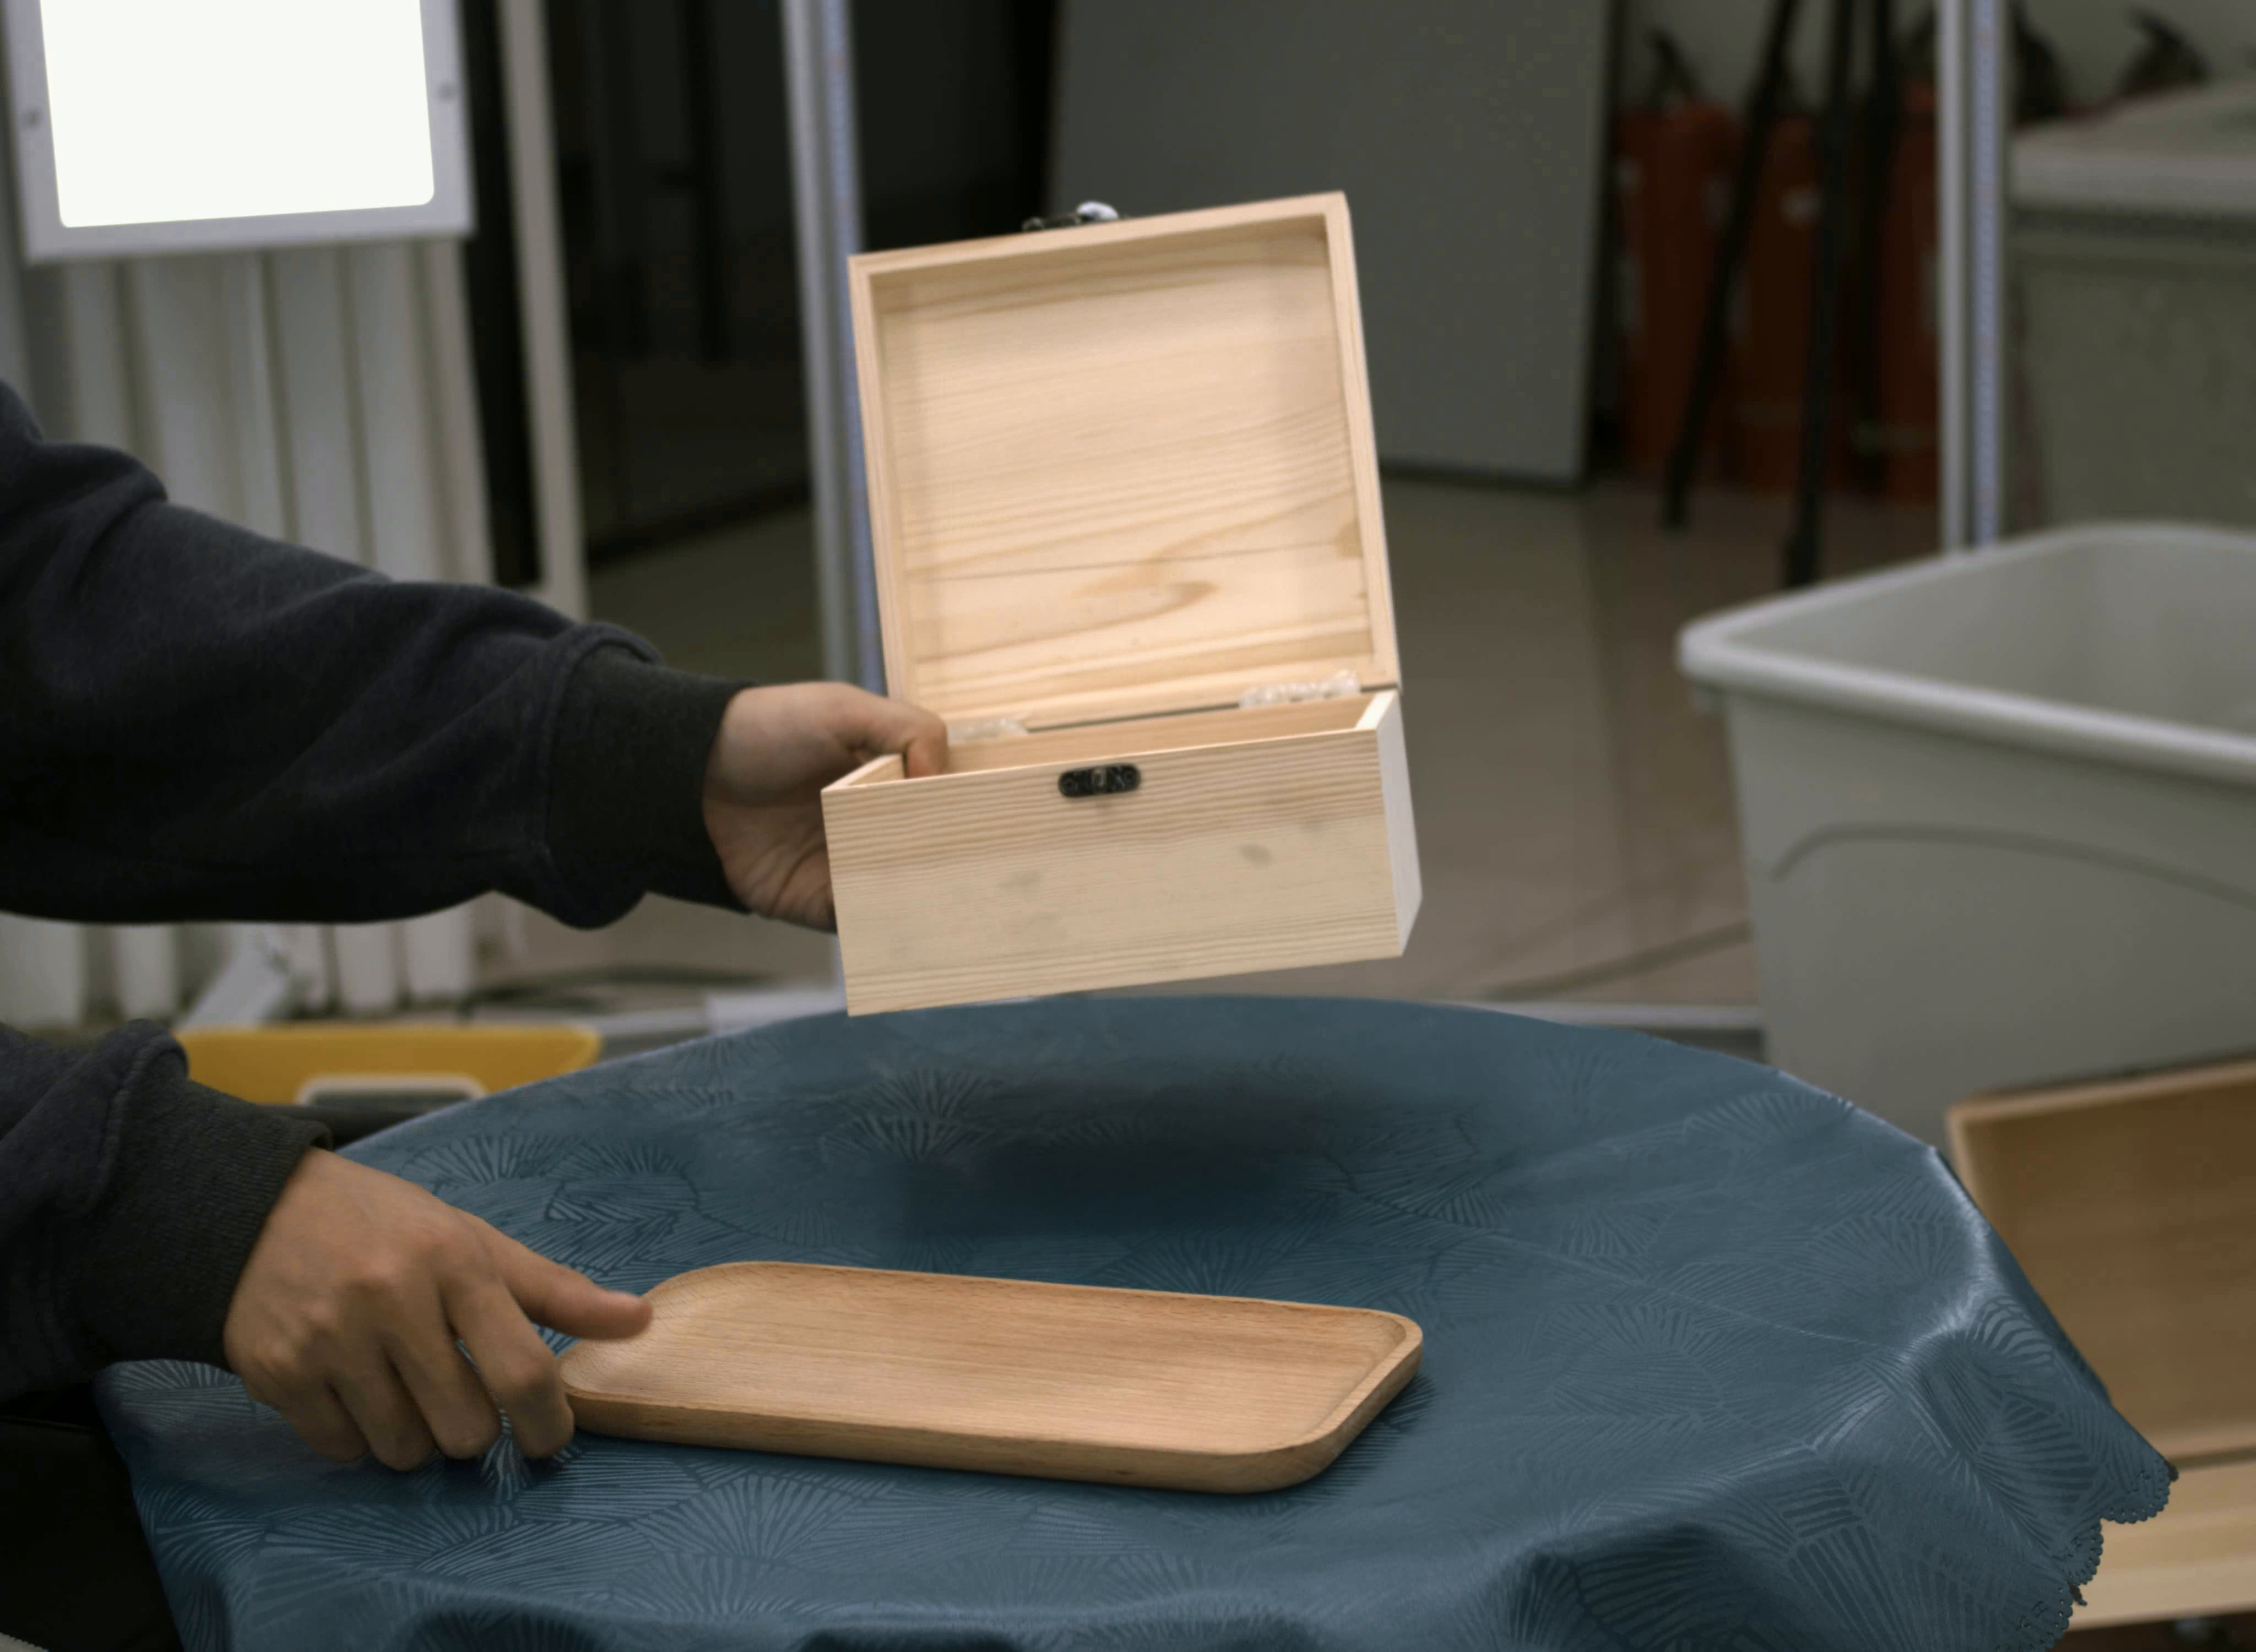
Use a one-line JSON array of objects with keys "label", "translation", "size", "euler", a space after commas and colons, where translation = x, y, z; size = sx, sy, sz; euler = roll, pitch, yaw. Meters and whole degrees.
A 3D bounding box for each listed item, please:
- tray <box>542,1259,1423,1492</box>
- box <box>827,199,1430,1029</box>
[{"label": "tray", "translation": [-0.042, 0.160, 1.583], "size": [0.251, 0.023, 0.129], "euler": [2, 12, 24]}, {"label": "box", "translation": [-0.006, -0.079, 1.830], "size": [0.180, 0.256, 0.264], "euler": [-9, 2, 5]}]
